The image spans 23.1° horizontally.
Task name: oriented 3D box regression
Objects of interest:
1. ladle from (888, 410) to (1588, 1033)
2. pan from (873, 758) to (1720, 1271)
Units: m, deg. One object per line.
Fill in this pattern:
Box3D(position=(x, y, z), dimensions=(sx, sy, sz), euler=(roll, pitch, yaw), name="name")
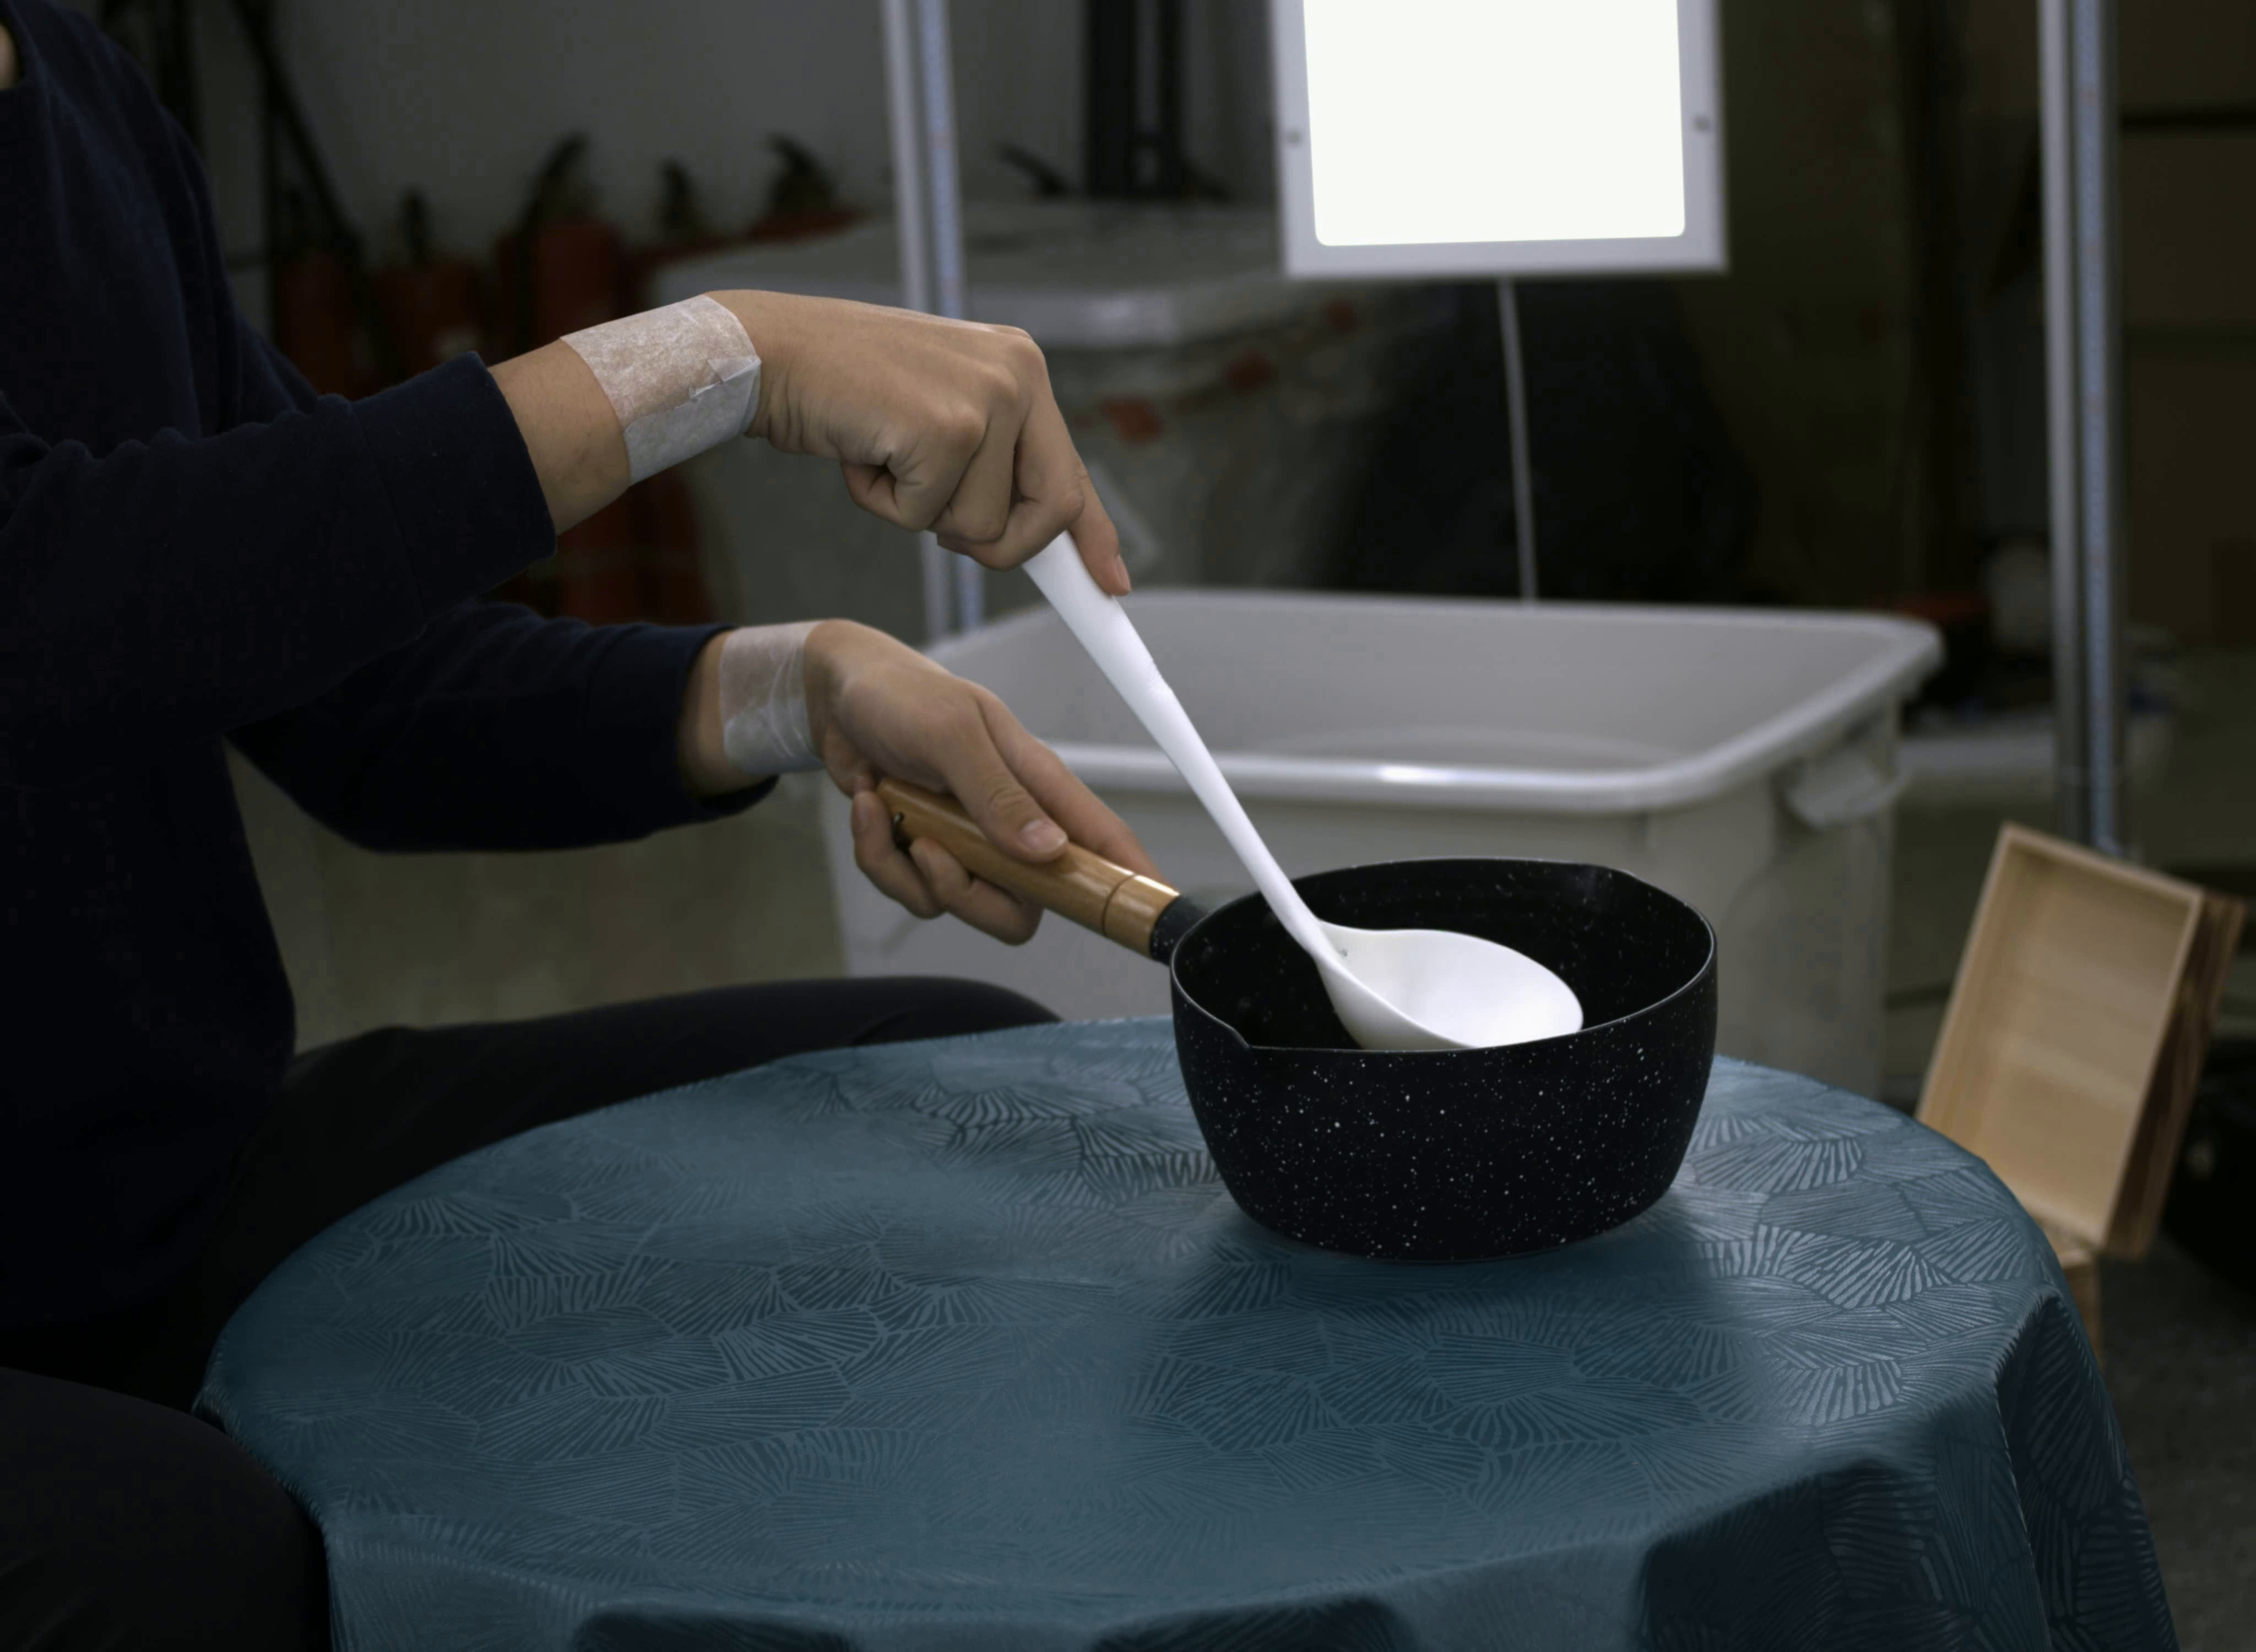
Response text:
Box3D(position=(0.036, -0.025, 1.818), dimensions=(0.071, 0.292, 0.088), euler=(-34, 9, 30), name="ladle")
Box3D(position=(0.045, 0.057, 1.894), dimensions=(0.350, 0.108, 0.202), euler=(12, 26, 38), name="pan")
